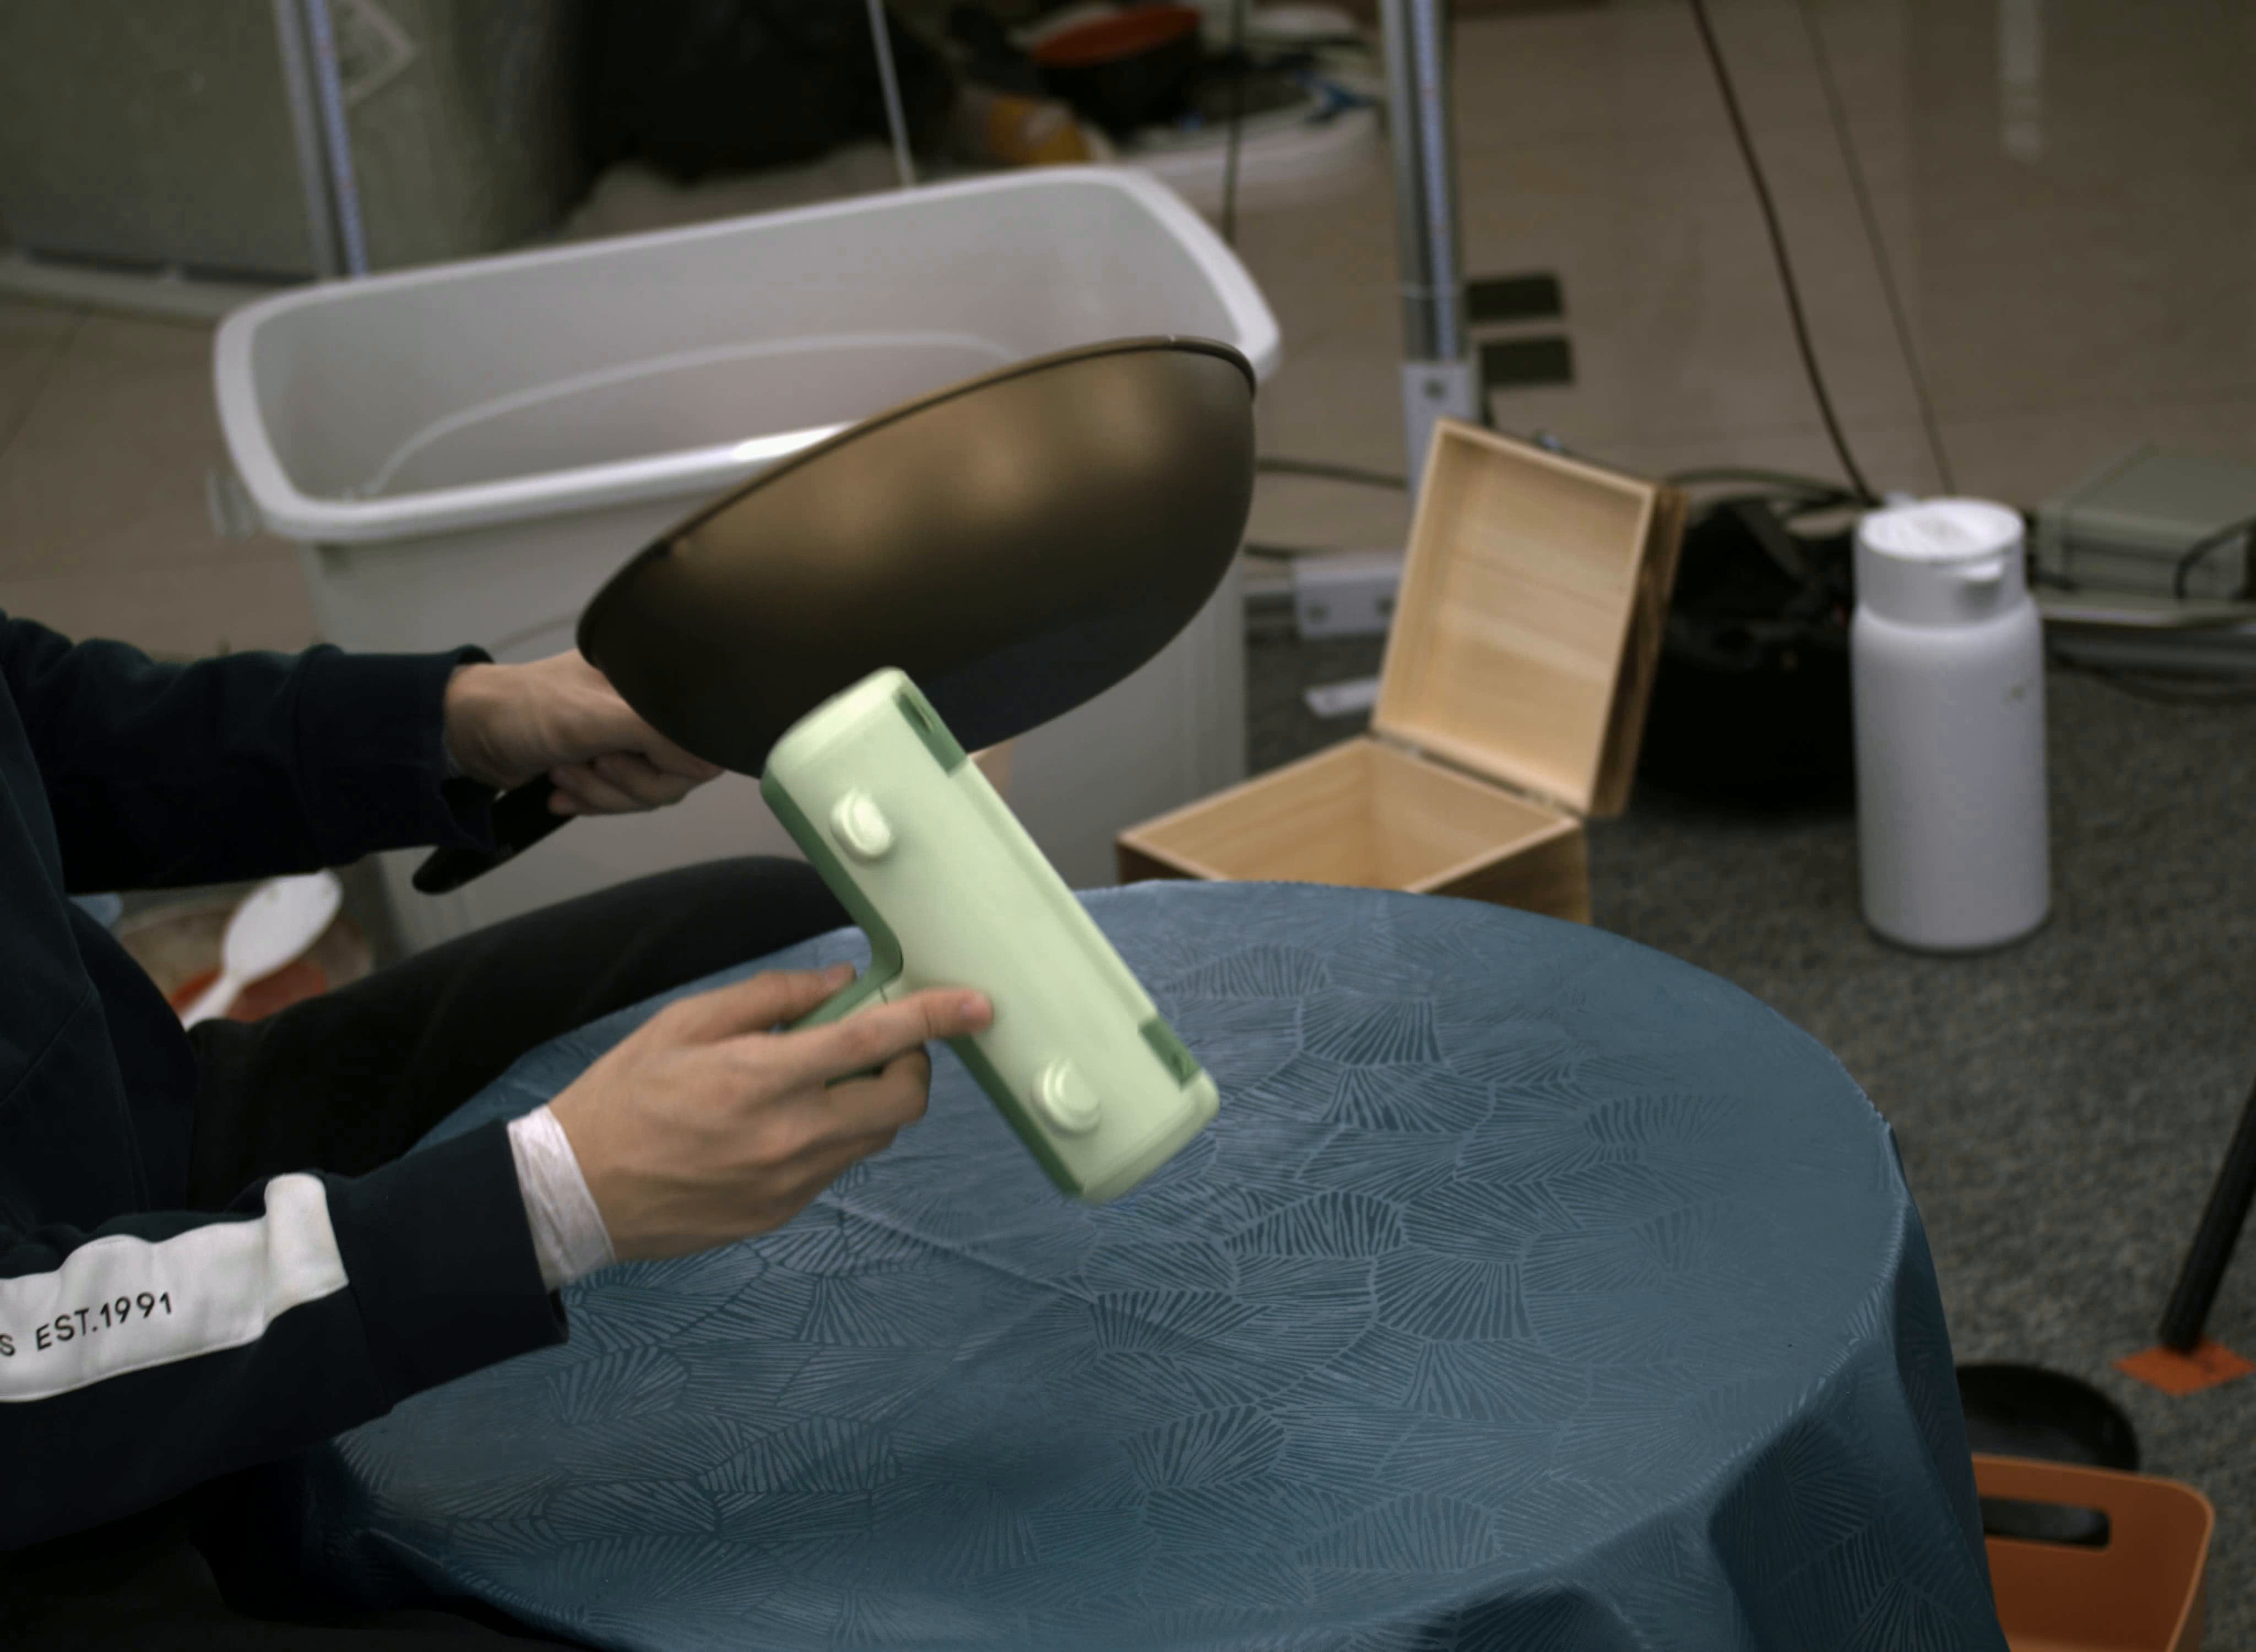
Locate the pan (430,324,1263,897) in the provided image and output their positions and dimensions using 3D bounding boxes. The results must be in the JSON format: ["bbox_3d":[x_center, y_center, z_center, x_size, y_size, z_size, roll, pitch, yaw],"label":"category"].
[{"bbox_3d":[-0.124,-0.046,2.201,0.467,0.086,0.287,-34,-16,38],"label":"pan"}]

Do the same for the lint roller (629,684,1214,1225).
[{"bbox_3d":[-0.097,0.079,1.957,0.183,0.199,0.082,-36,6,-1],"label":"lint roller"}]
